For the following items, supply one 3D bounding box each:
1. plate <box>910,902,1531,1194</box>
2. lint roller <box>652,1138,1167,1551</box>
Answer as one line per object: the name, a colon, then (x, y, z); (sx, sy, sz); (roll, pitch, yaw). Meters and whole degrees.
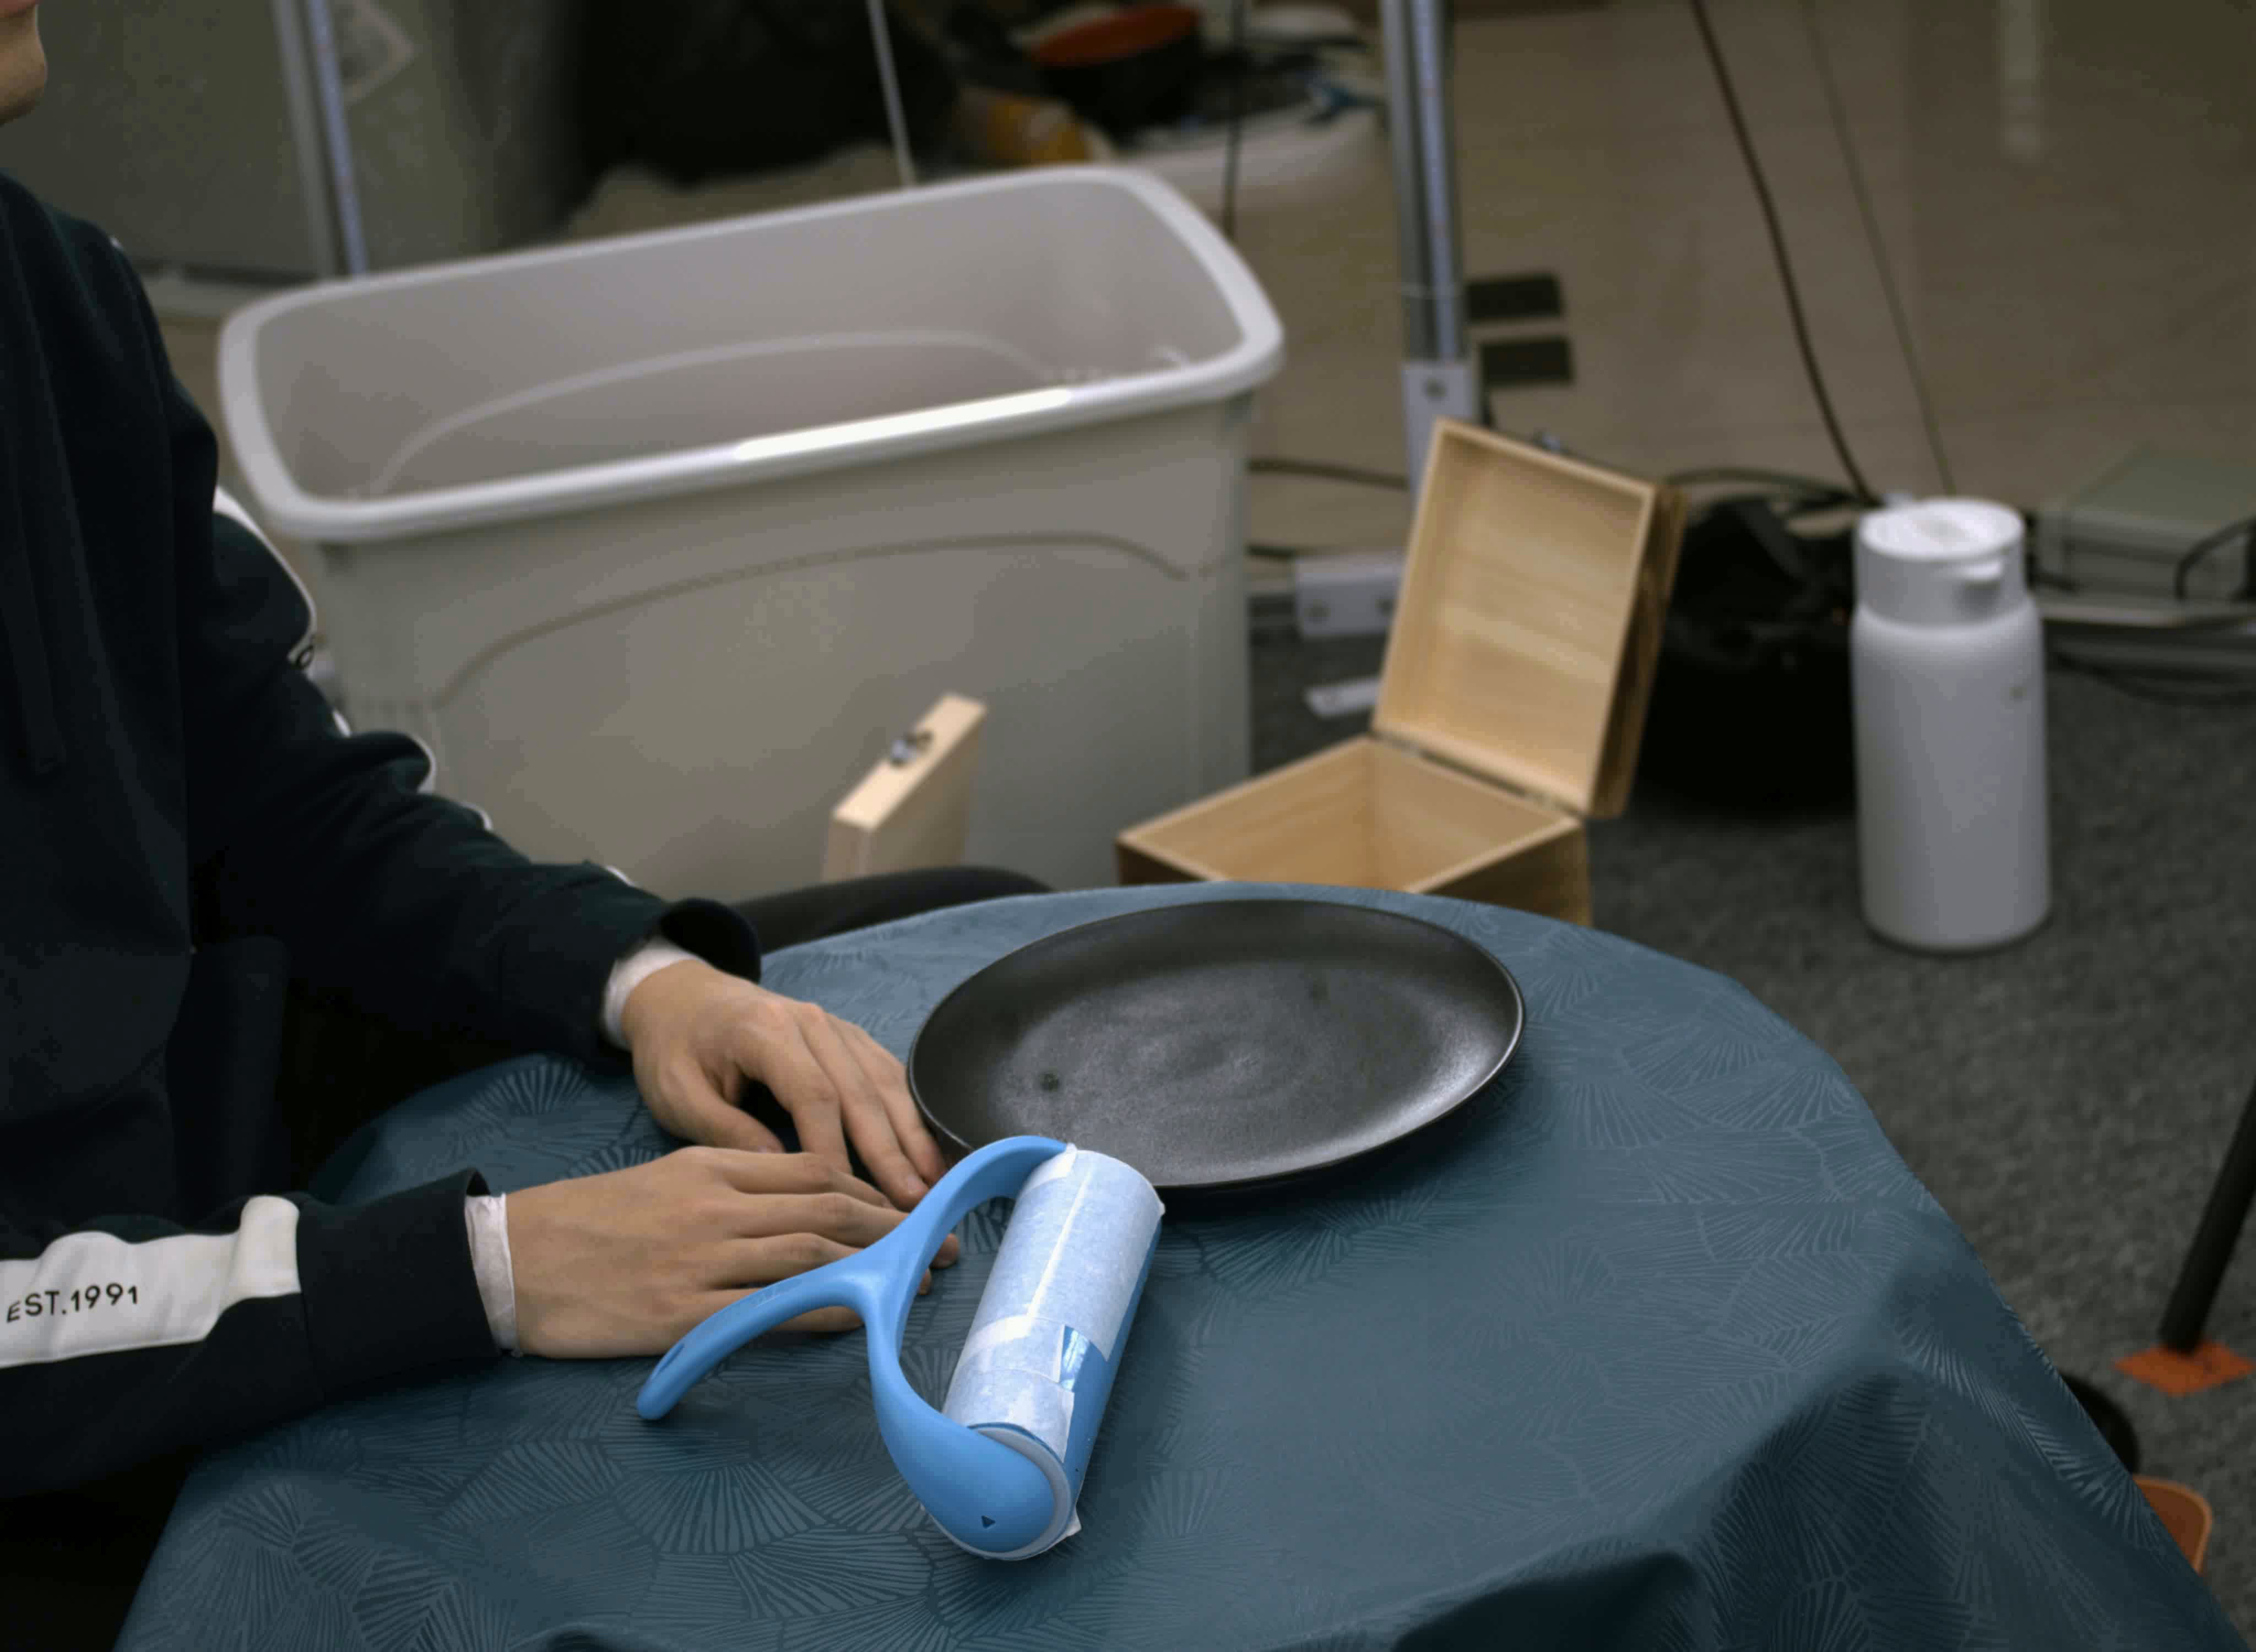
plate: (0.037, 0.091, 2.211); (0.244, 0.024, 0.241); (-5, 25, 3)
lint roller: (-0.085, 0.184, 2.001); (0.180, 0.069, 0.225); (-4, 26, 8)
